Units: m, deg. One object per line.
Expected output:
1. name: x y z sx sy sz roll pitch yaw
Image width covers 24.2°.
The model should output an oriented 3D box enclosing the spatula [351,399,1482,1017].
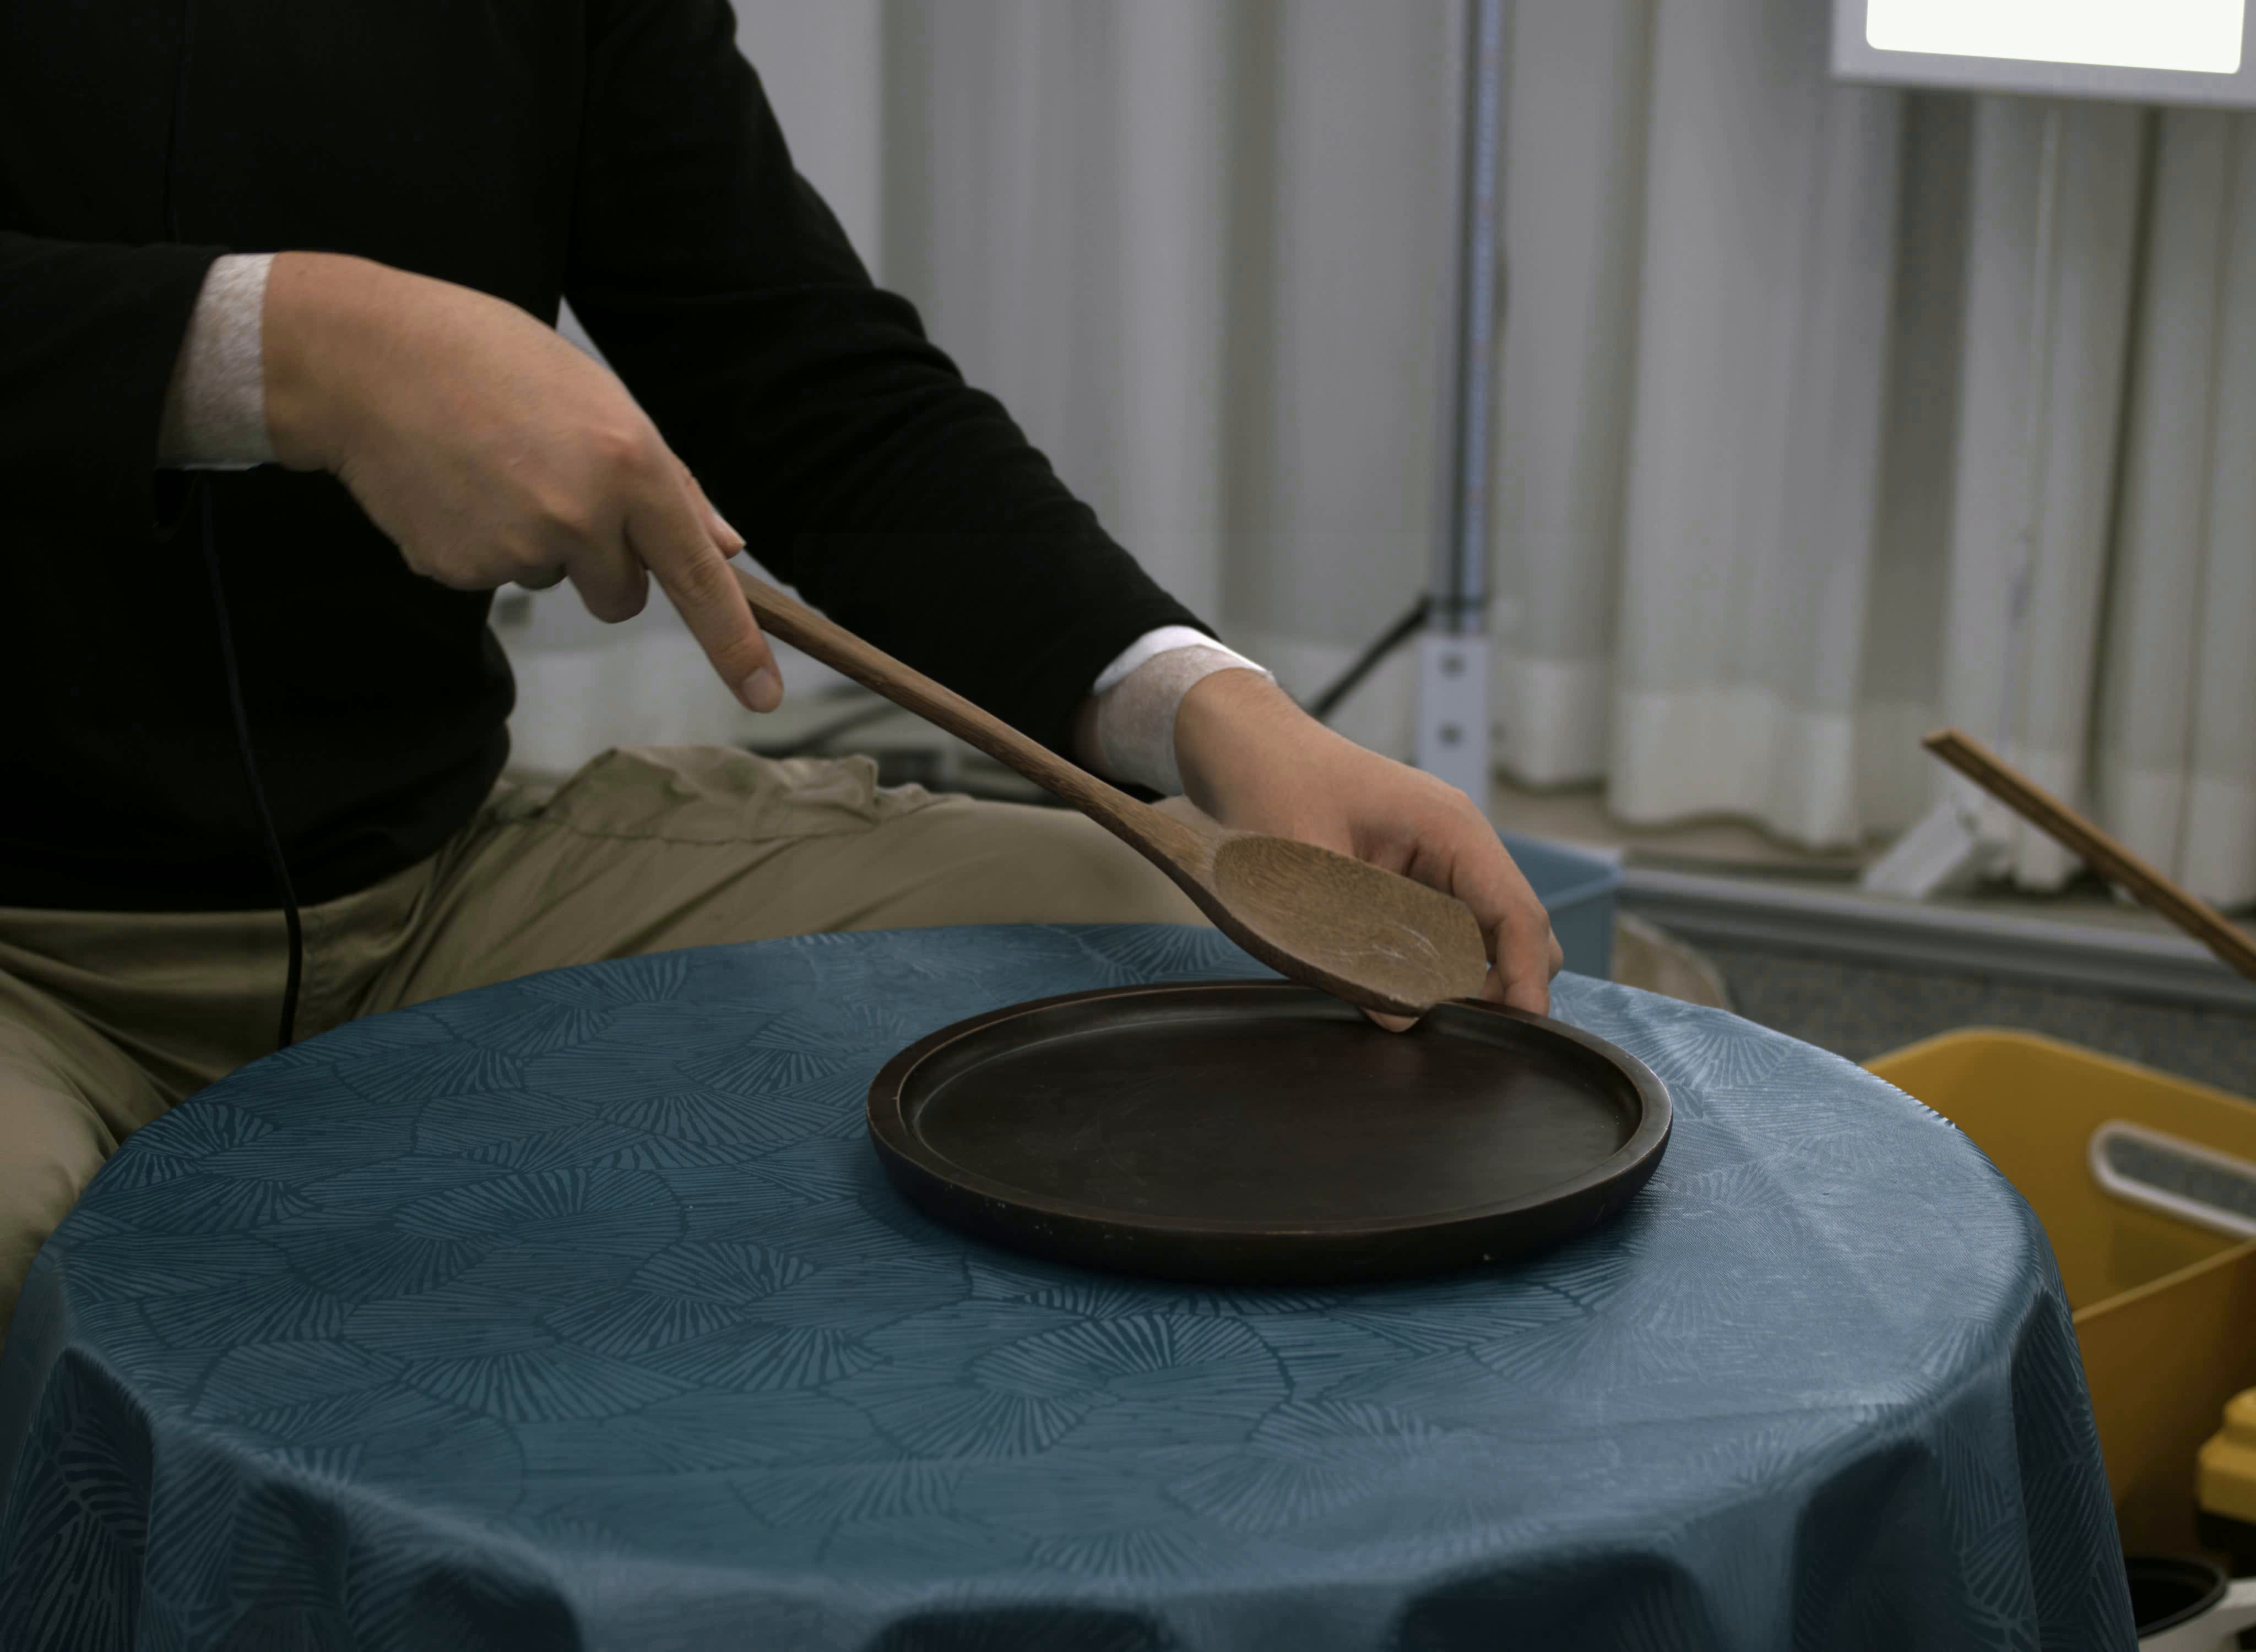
1. spatula: -0.064 -0.040 1.602 0.385 0.016 0.096 28 24 -1

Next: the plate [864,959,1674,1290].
1. plate: 0.044 0.094 1.644 0.254 0.029 0.253 -1 16 1
